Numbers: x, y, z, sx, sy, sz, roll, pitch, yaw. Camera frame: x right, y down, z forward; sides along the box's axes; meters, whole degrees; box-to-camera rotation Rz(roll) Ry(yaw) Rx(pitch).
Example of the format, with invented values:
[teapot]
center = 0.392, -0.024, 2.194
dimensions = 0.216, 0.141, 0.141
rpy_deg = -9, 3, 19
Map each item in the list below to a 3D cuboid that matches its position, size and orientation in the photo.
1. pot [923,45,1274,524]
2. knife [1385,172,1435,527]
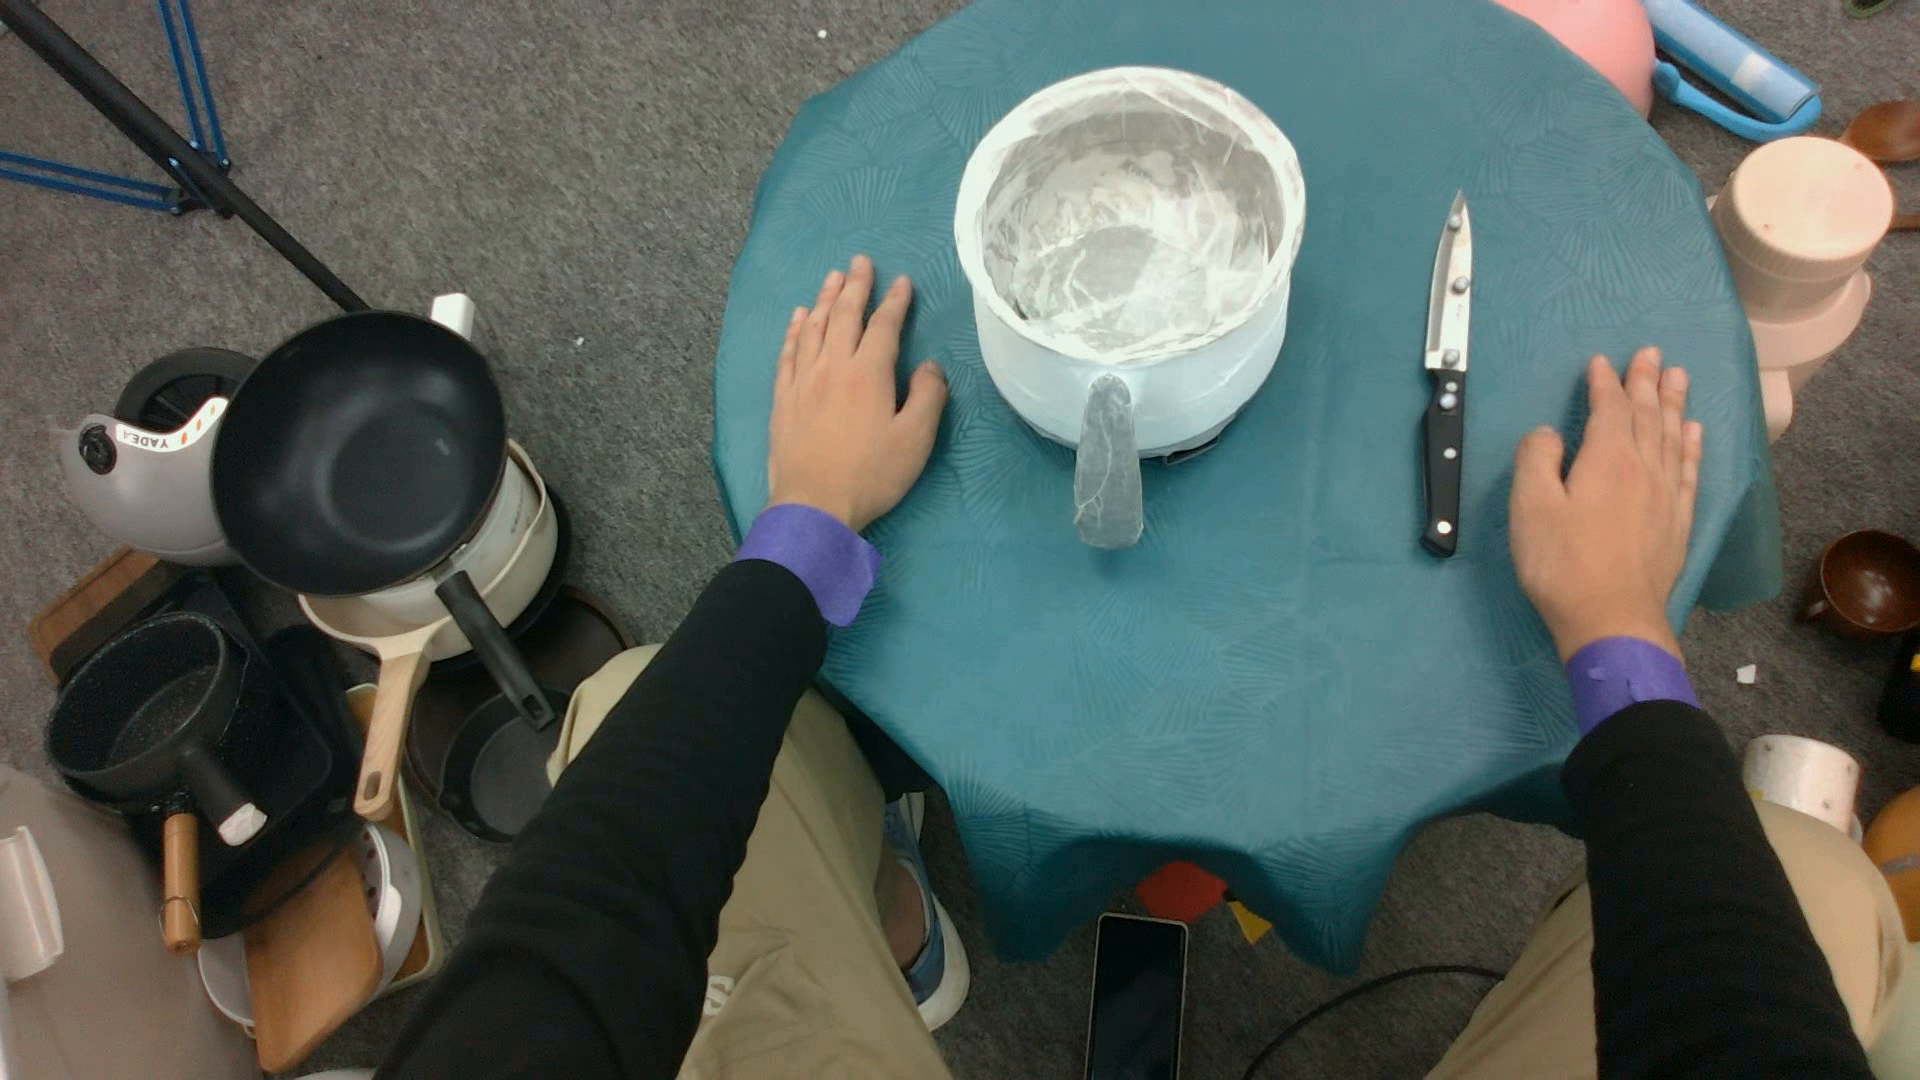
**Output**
[pot]
center = 0.074, -0.132, 0.747
dimensions = 0.178, 0.136, 0.234
rpy_deg = 2, 68, 8
[knife]
center = 0.260, -0.115, 0.789
dimensions = 0.024, 0.016, 0.239
rpy_deg = 6, 67, 9
